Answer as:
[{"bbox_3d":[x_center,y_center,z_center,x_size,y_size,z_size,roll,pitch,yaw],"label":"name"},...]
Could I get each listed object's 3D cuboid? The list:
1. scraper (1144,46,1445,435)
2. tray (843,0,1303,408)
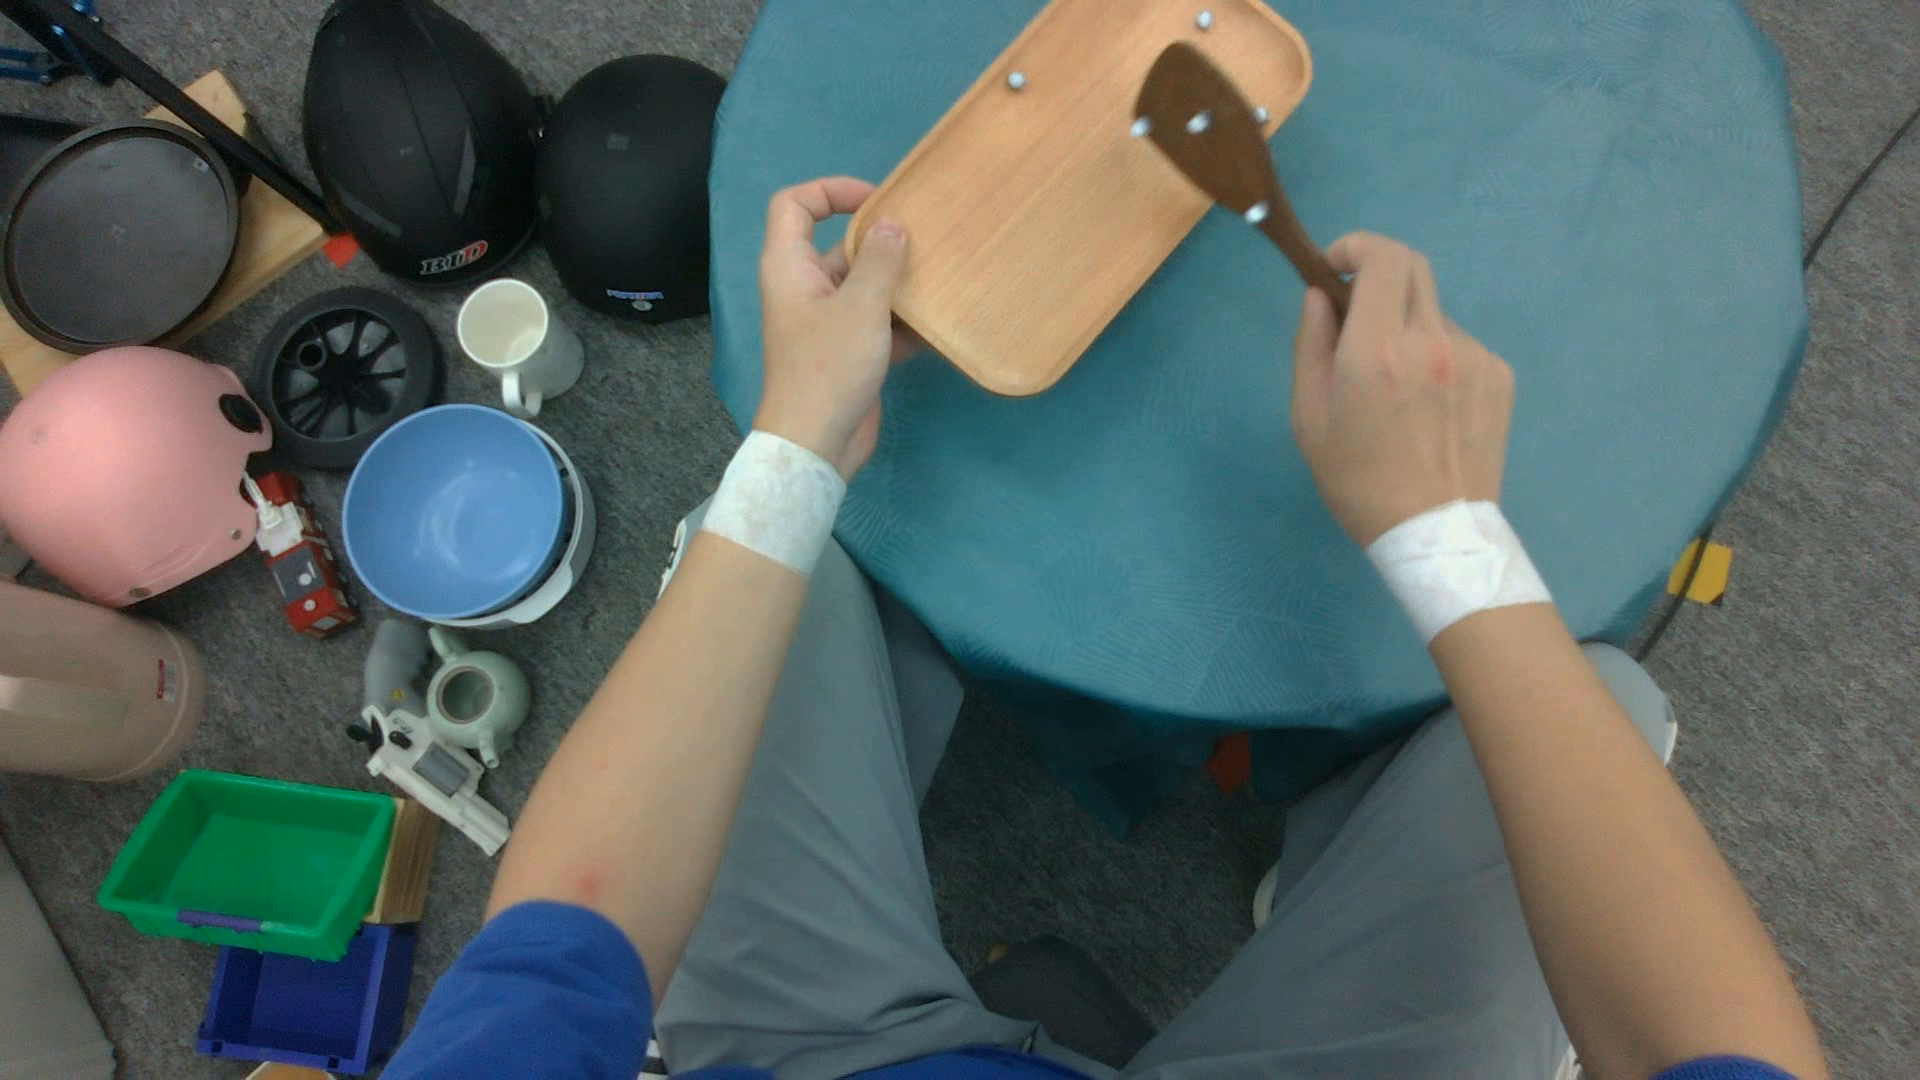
[{"bbox_3d":[0.161,-0.137,0.652,0.011,0.075,0.211,-35,87,-19],"label":"scraper"},{"bbox_3d":[0.060,-0.185,0.694,0.130,0.023,0.251,40,78,6],"label":"tray"}]
